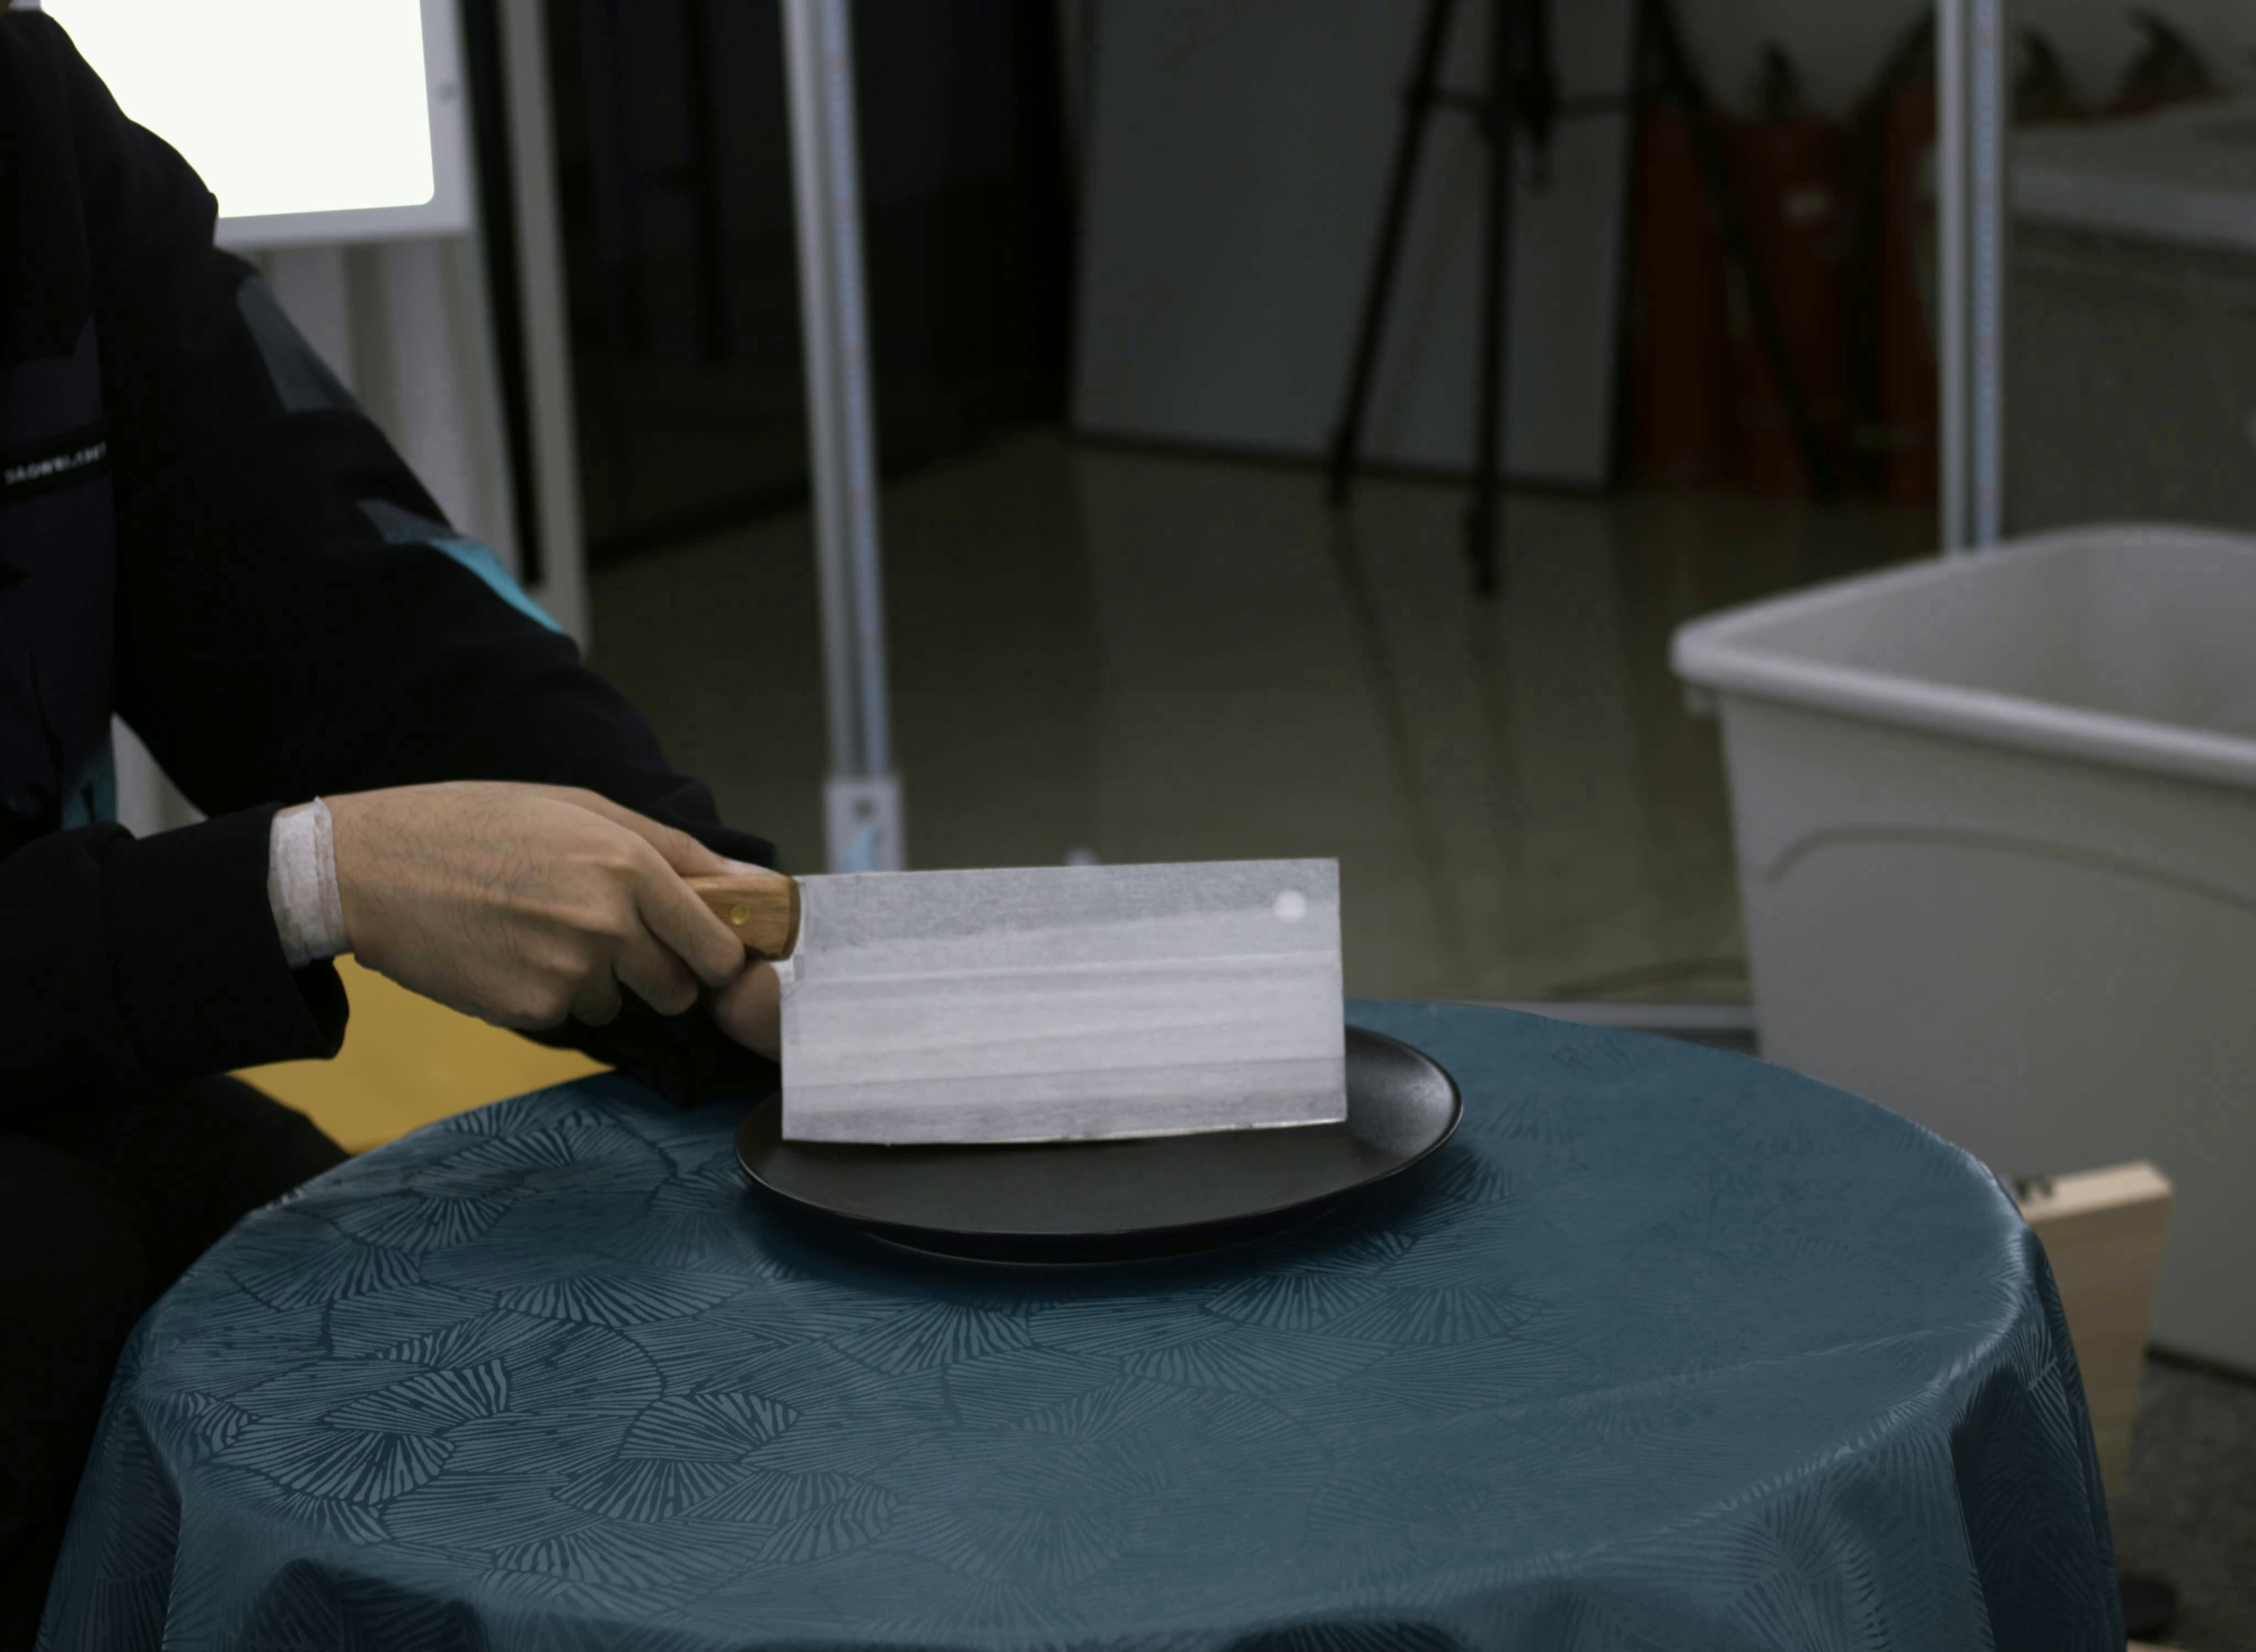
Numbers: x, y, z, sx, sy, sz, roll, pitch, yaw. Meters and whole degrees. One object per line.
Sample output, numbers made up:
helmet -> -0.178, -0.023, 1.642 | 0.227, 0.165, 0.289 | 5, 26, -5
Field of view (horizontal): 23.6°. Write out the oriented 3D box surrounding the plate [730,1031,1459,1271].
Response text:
plate -> -0.010, 0.107, 1.781 | 0.241, 0.024, 0.245 | -4, 14, 0

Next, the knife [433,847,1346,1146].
knife -> -0.079, 0.059, 1.793 | 0.302, 0.094, 0.021 | -3, 1, 4
